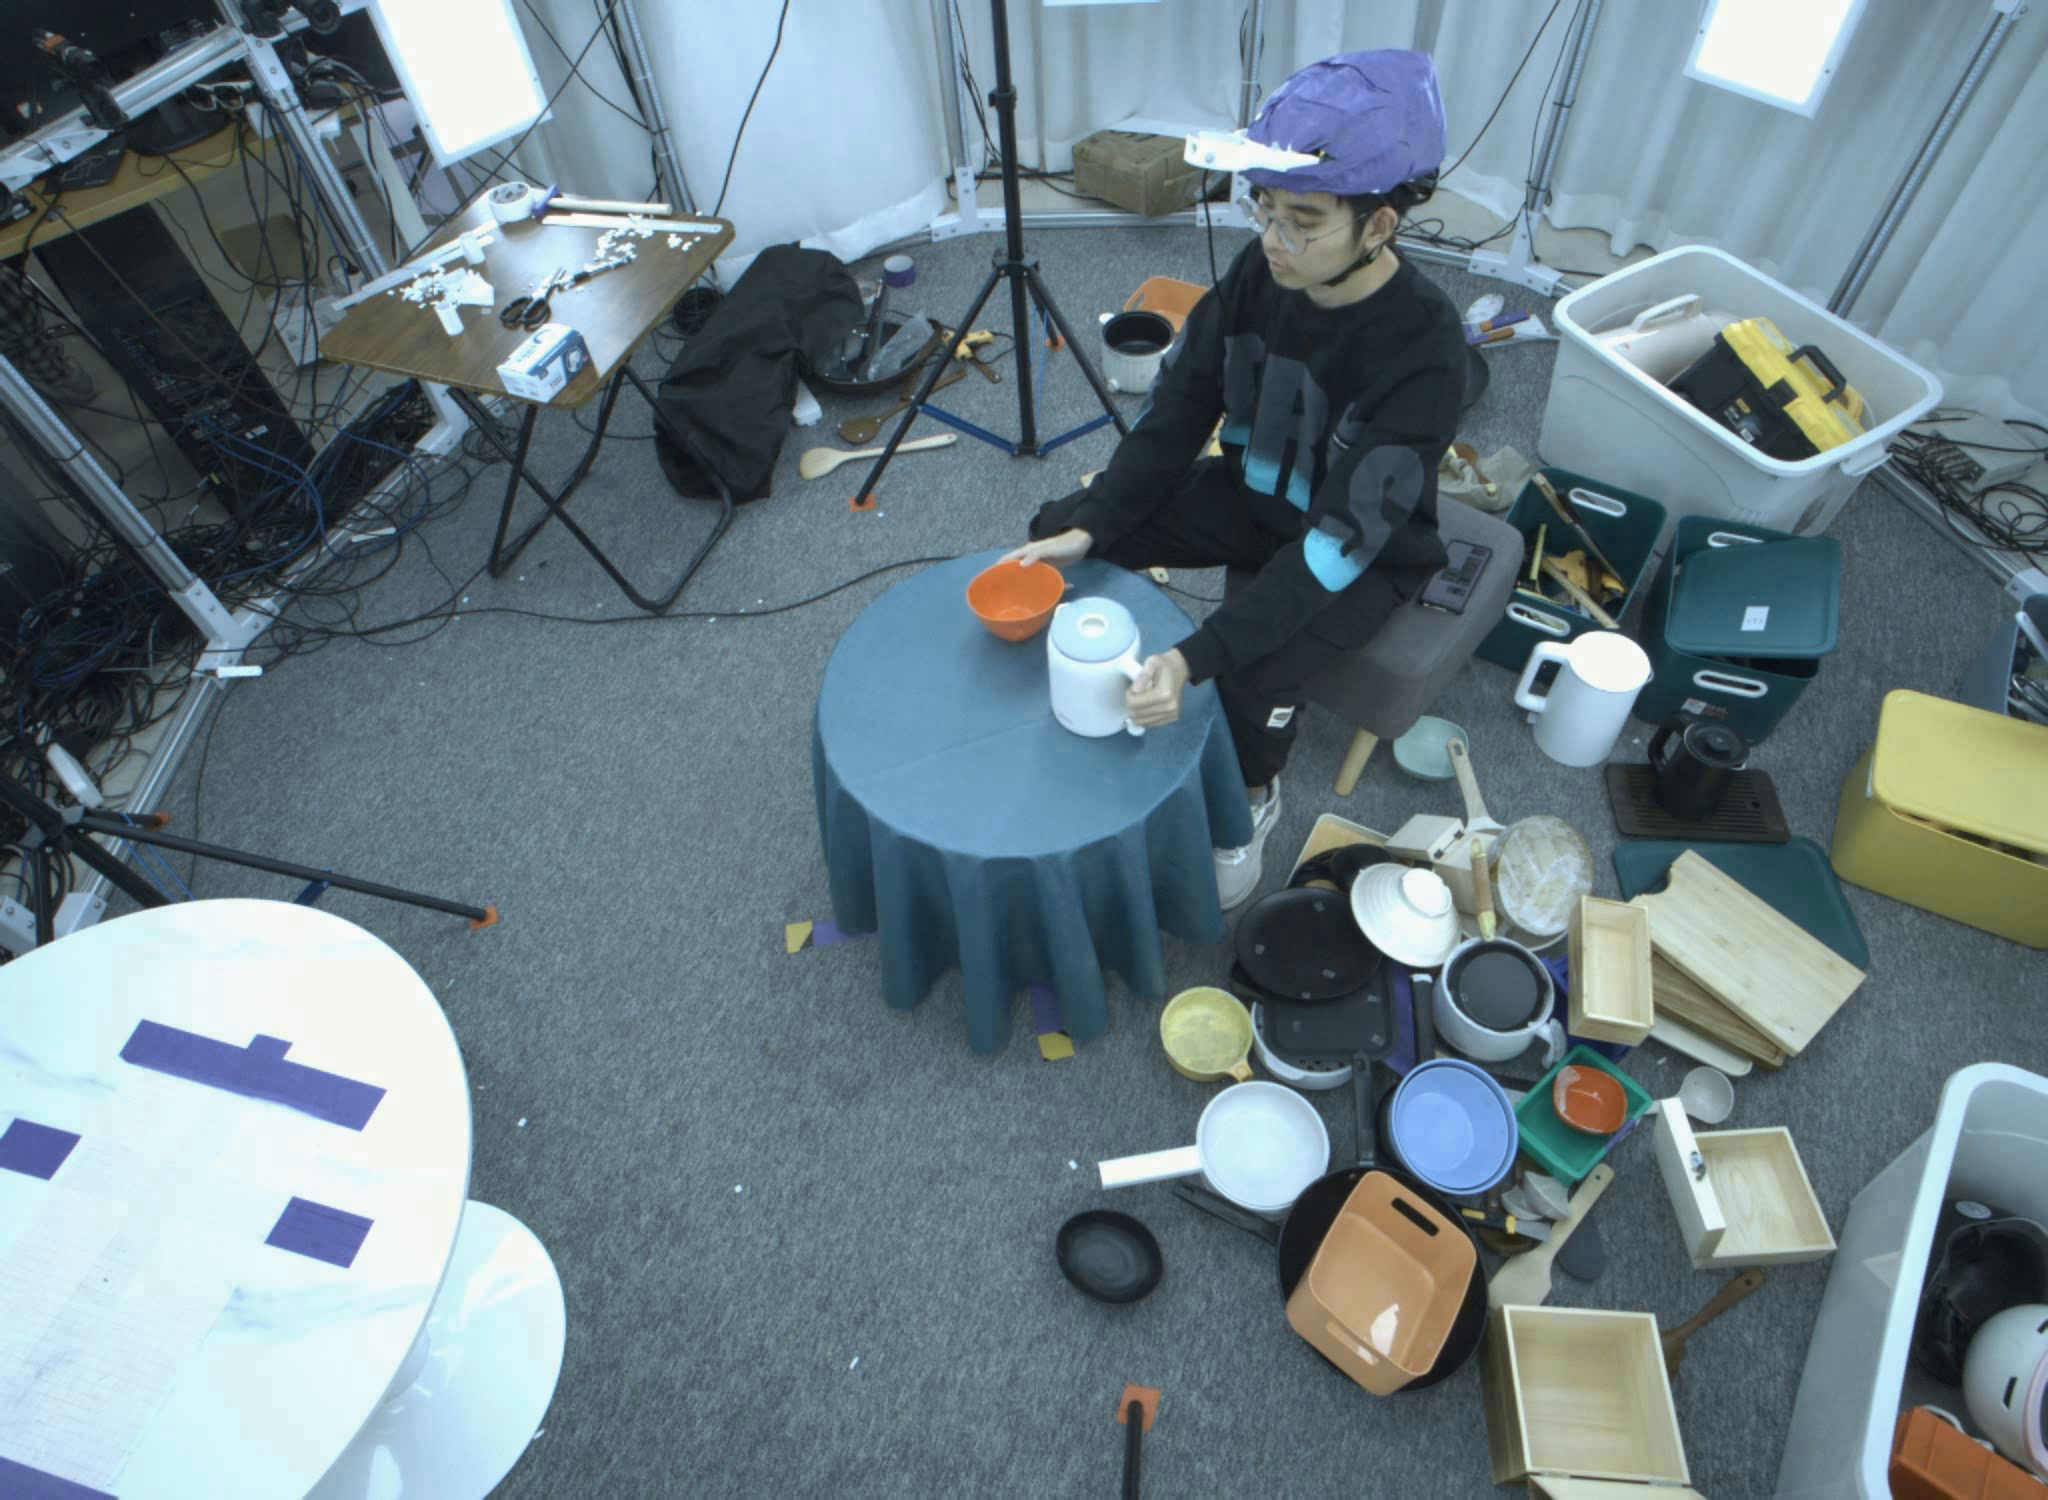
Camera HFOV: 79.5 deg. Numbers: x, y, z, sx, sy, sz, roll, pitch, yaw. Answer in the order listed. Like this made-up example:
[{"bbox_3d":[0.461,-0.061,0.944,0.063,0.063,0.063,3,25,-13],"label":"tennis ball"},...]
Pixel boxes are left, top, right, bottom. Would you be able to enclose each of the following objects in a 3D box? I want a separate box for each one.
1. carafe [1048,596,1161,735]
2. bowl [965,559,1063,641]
[{"bbox_3d":[0.118,-0.106,1.749,0.188,0.184,0.133,38,66,23],"label":"carafe"},{"bbox_3d":[-0.014,-0.216,1.875,0.148,0.106,0.146,-1,55,2],"label":"bowl"}]
